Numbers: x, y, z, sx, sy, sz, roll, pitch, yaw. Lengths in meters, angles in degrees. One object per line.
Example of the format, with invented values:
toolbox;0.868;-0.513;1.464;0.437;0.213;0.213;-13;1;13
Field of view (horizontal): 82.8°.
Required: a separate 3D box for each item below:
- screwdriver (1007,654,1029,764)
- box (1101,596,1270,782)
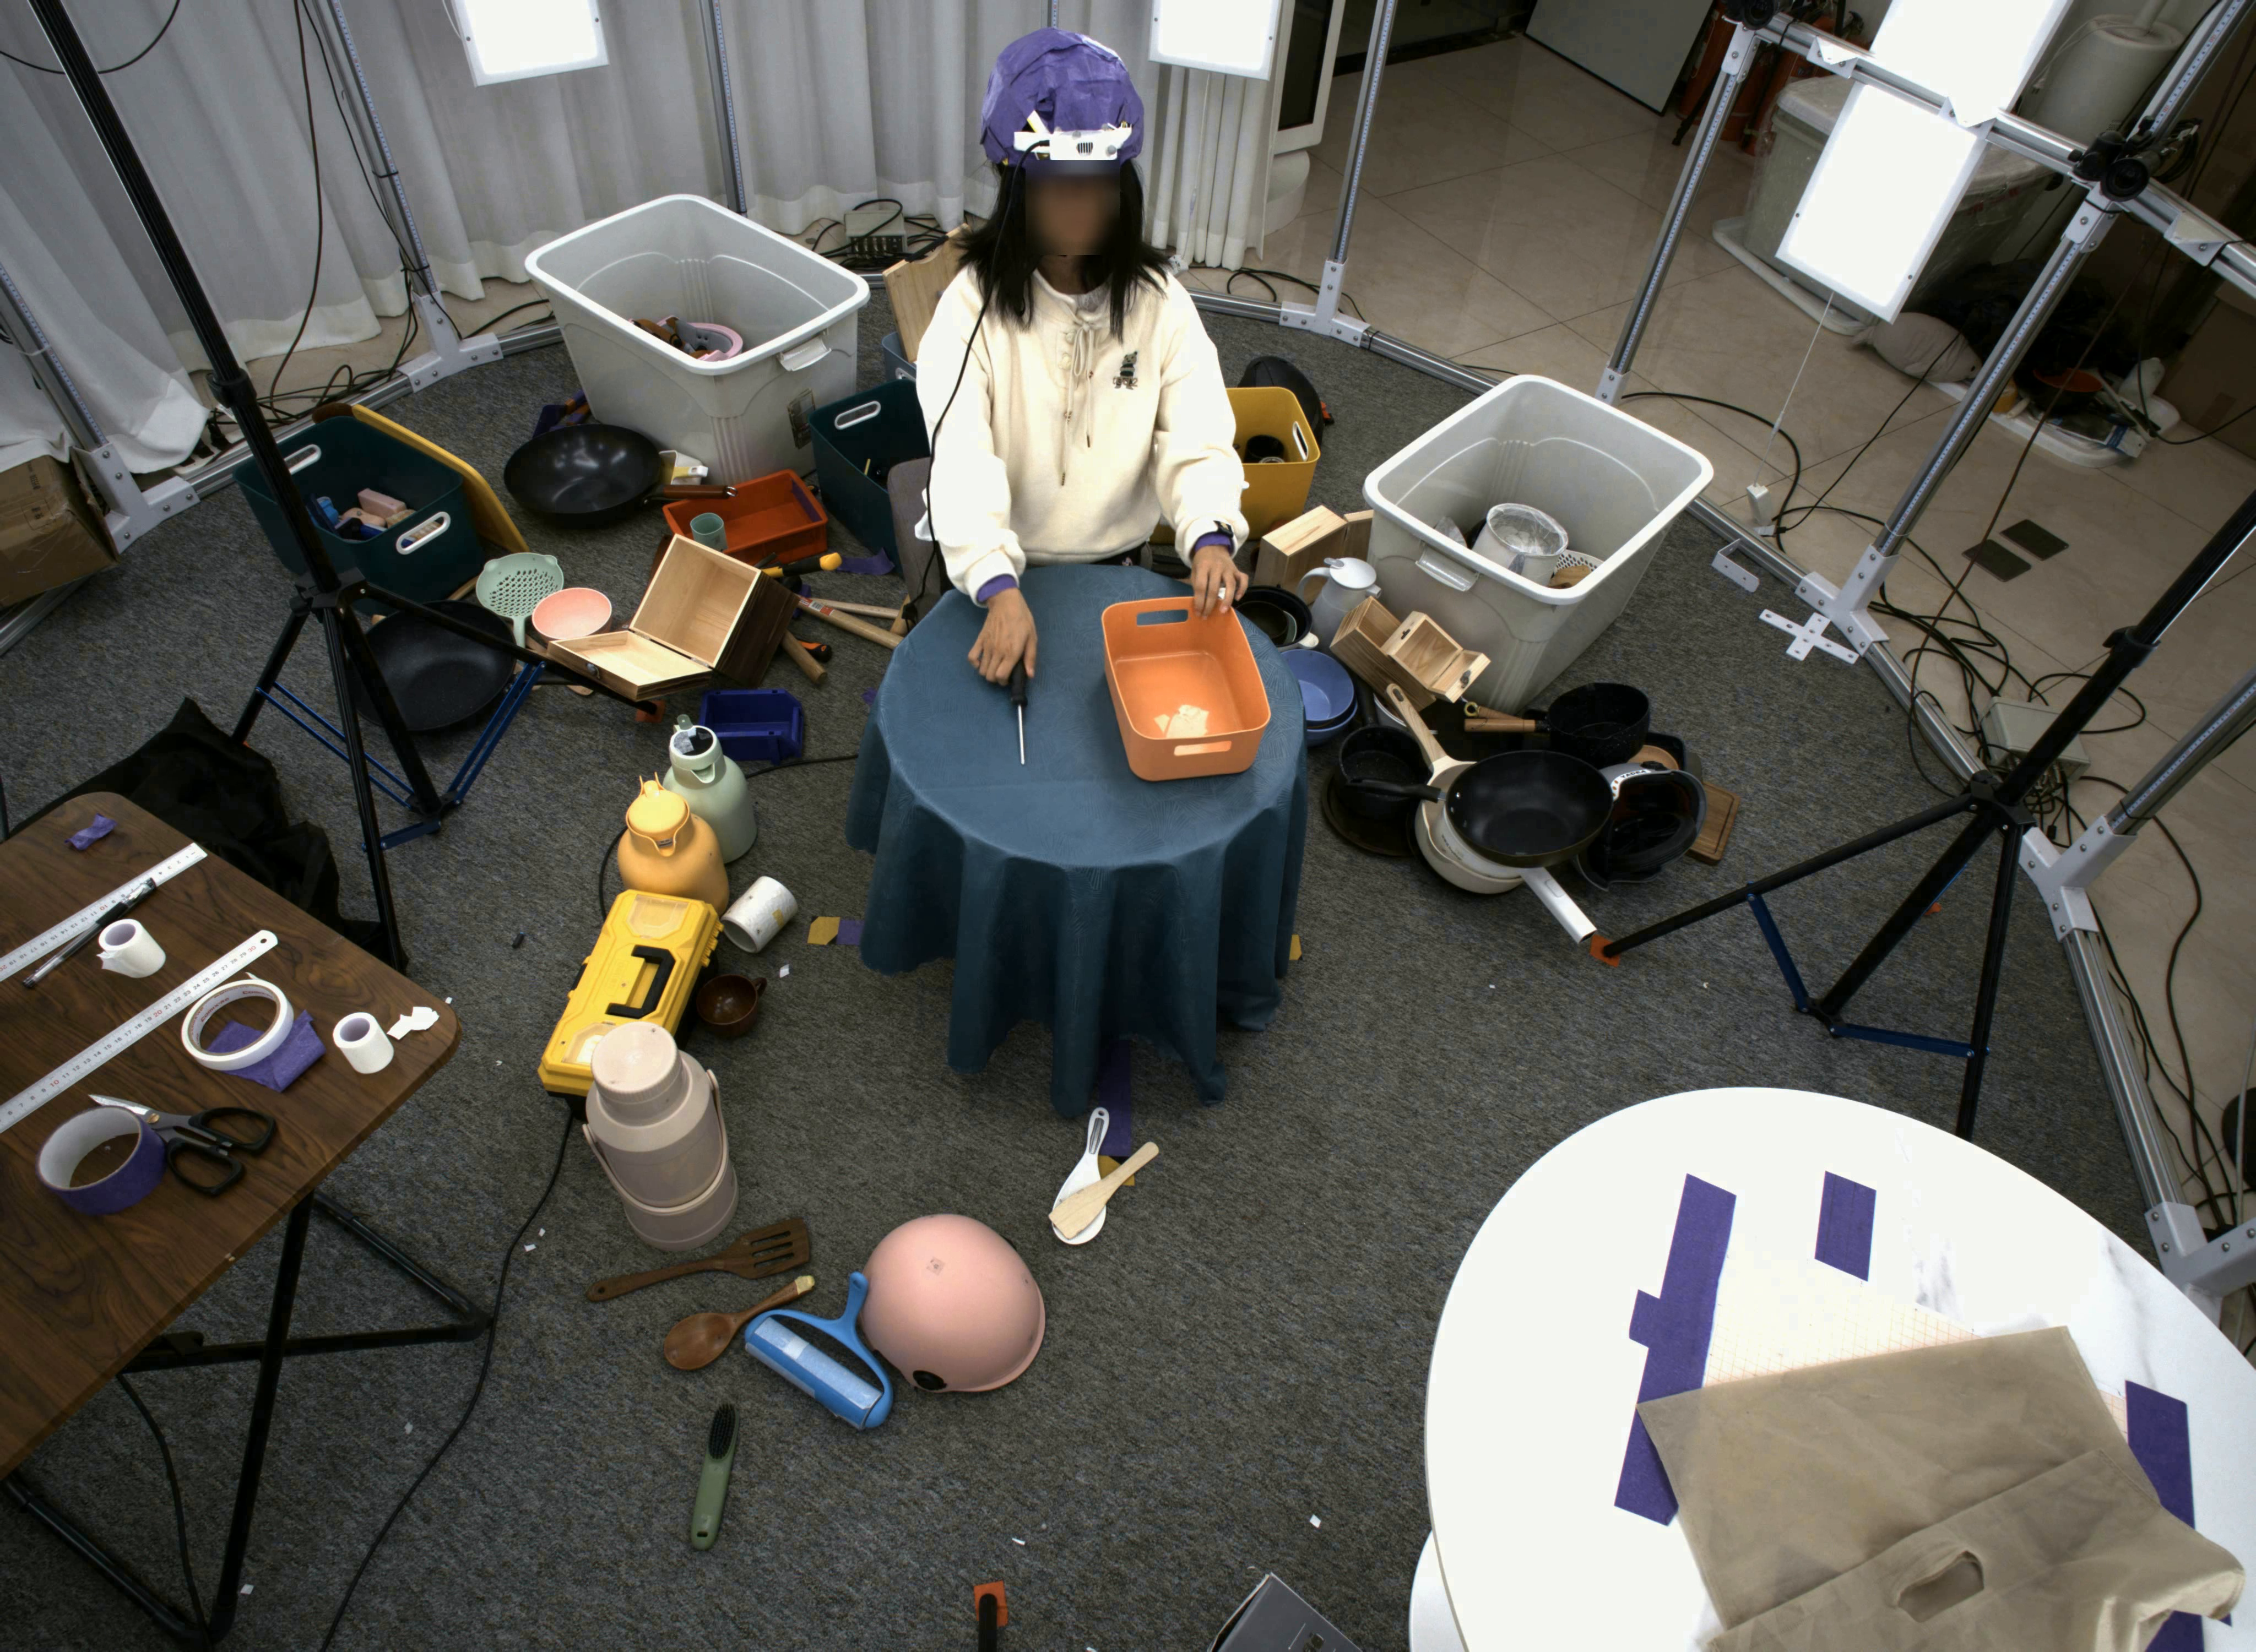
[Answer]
screwdriver;-0.153;-0.162;1.787;0.031;0.031;0.201;0;55;-5
box;0.073;-0.188;1.770;0.199;0.100;0.280;-7;50;-9
